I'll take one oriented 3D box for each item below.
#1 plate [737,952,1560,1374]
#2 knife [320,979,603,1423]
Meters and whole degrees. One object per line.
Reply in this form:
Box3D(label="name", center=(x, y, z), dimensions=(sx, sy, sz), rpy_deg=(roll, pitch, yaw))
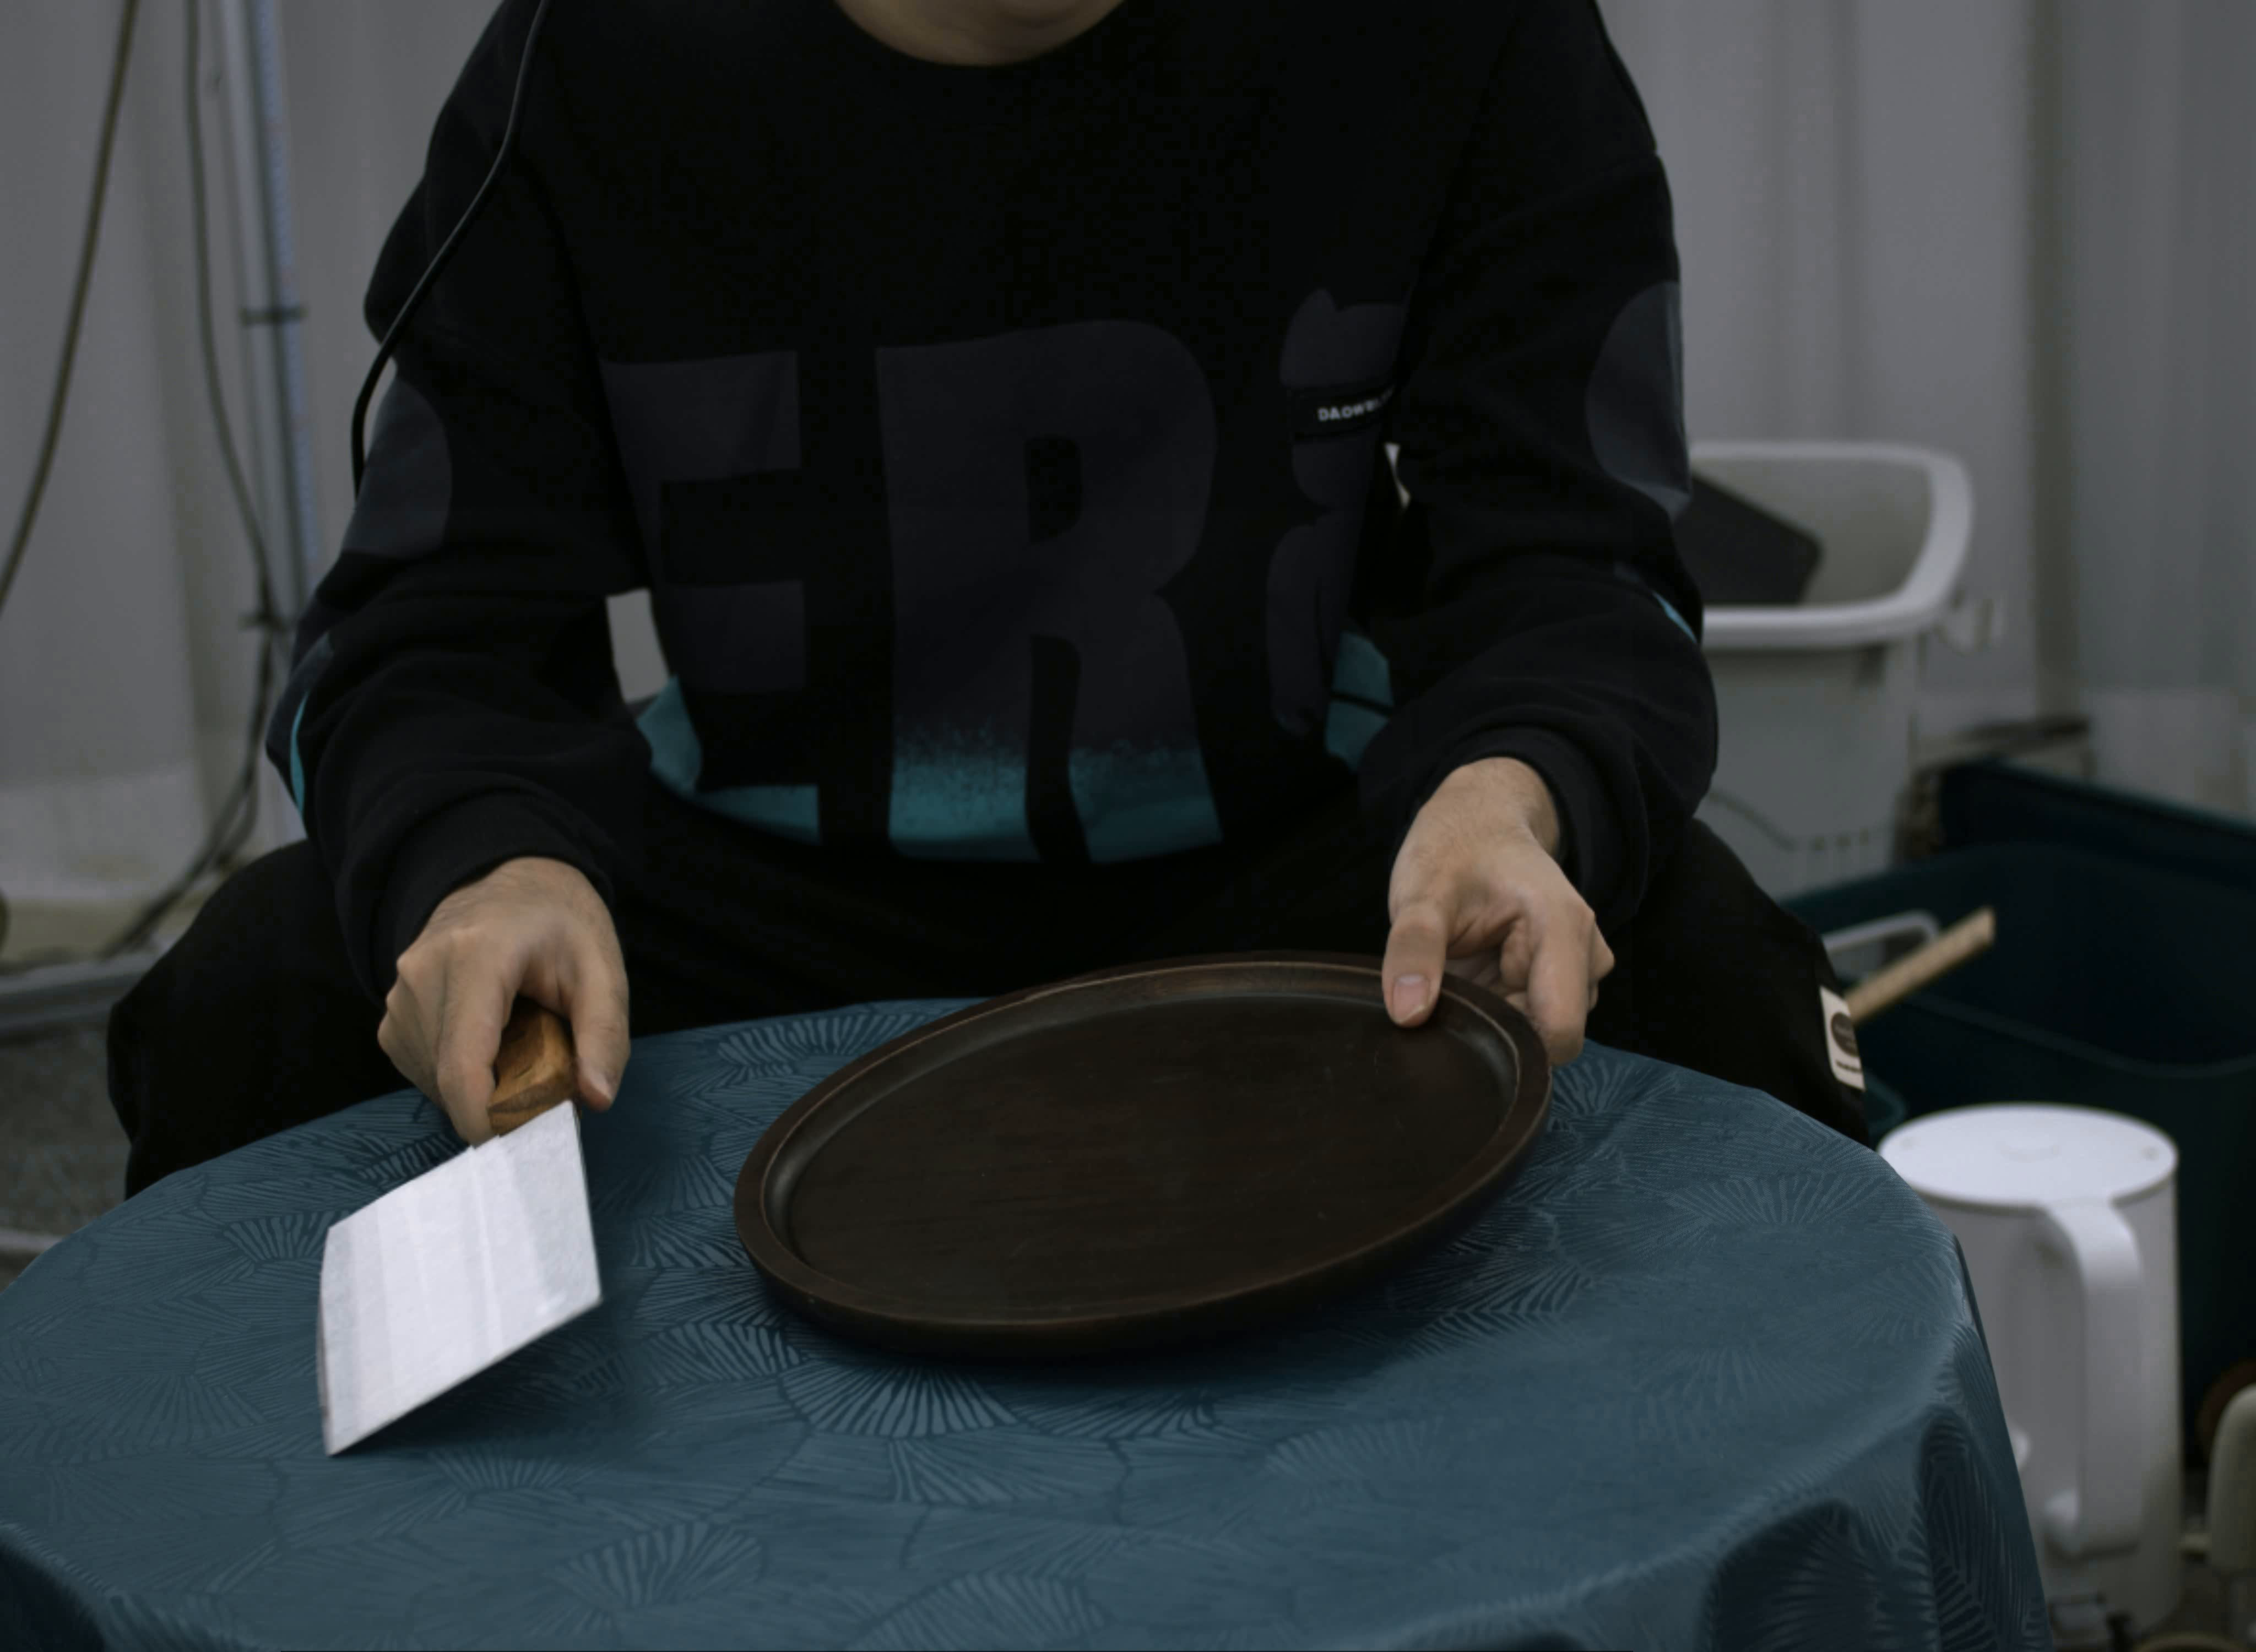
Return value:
Box3D(label="plate", center=(0.006, 0.100, 1.656), dimensions=(0.254, 0.029, 0.257), rpy_deg=(-7, 22, 3))
Box3D(label="knife", center=(-0.206, 0.115, 1.673), dimensions=(0.093, 0.021, 0.308), rpy_deg=(-28, 17, 1))
